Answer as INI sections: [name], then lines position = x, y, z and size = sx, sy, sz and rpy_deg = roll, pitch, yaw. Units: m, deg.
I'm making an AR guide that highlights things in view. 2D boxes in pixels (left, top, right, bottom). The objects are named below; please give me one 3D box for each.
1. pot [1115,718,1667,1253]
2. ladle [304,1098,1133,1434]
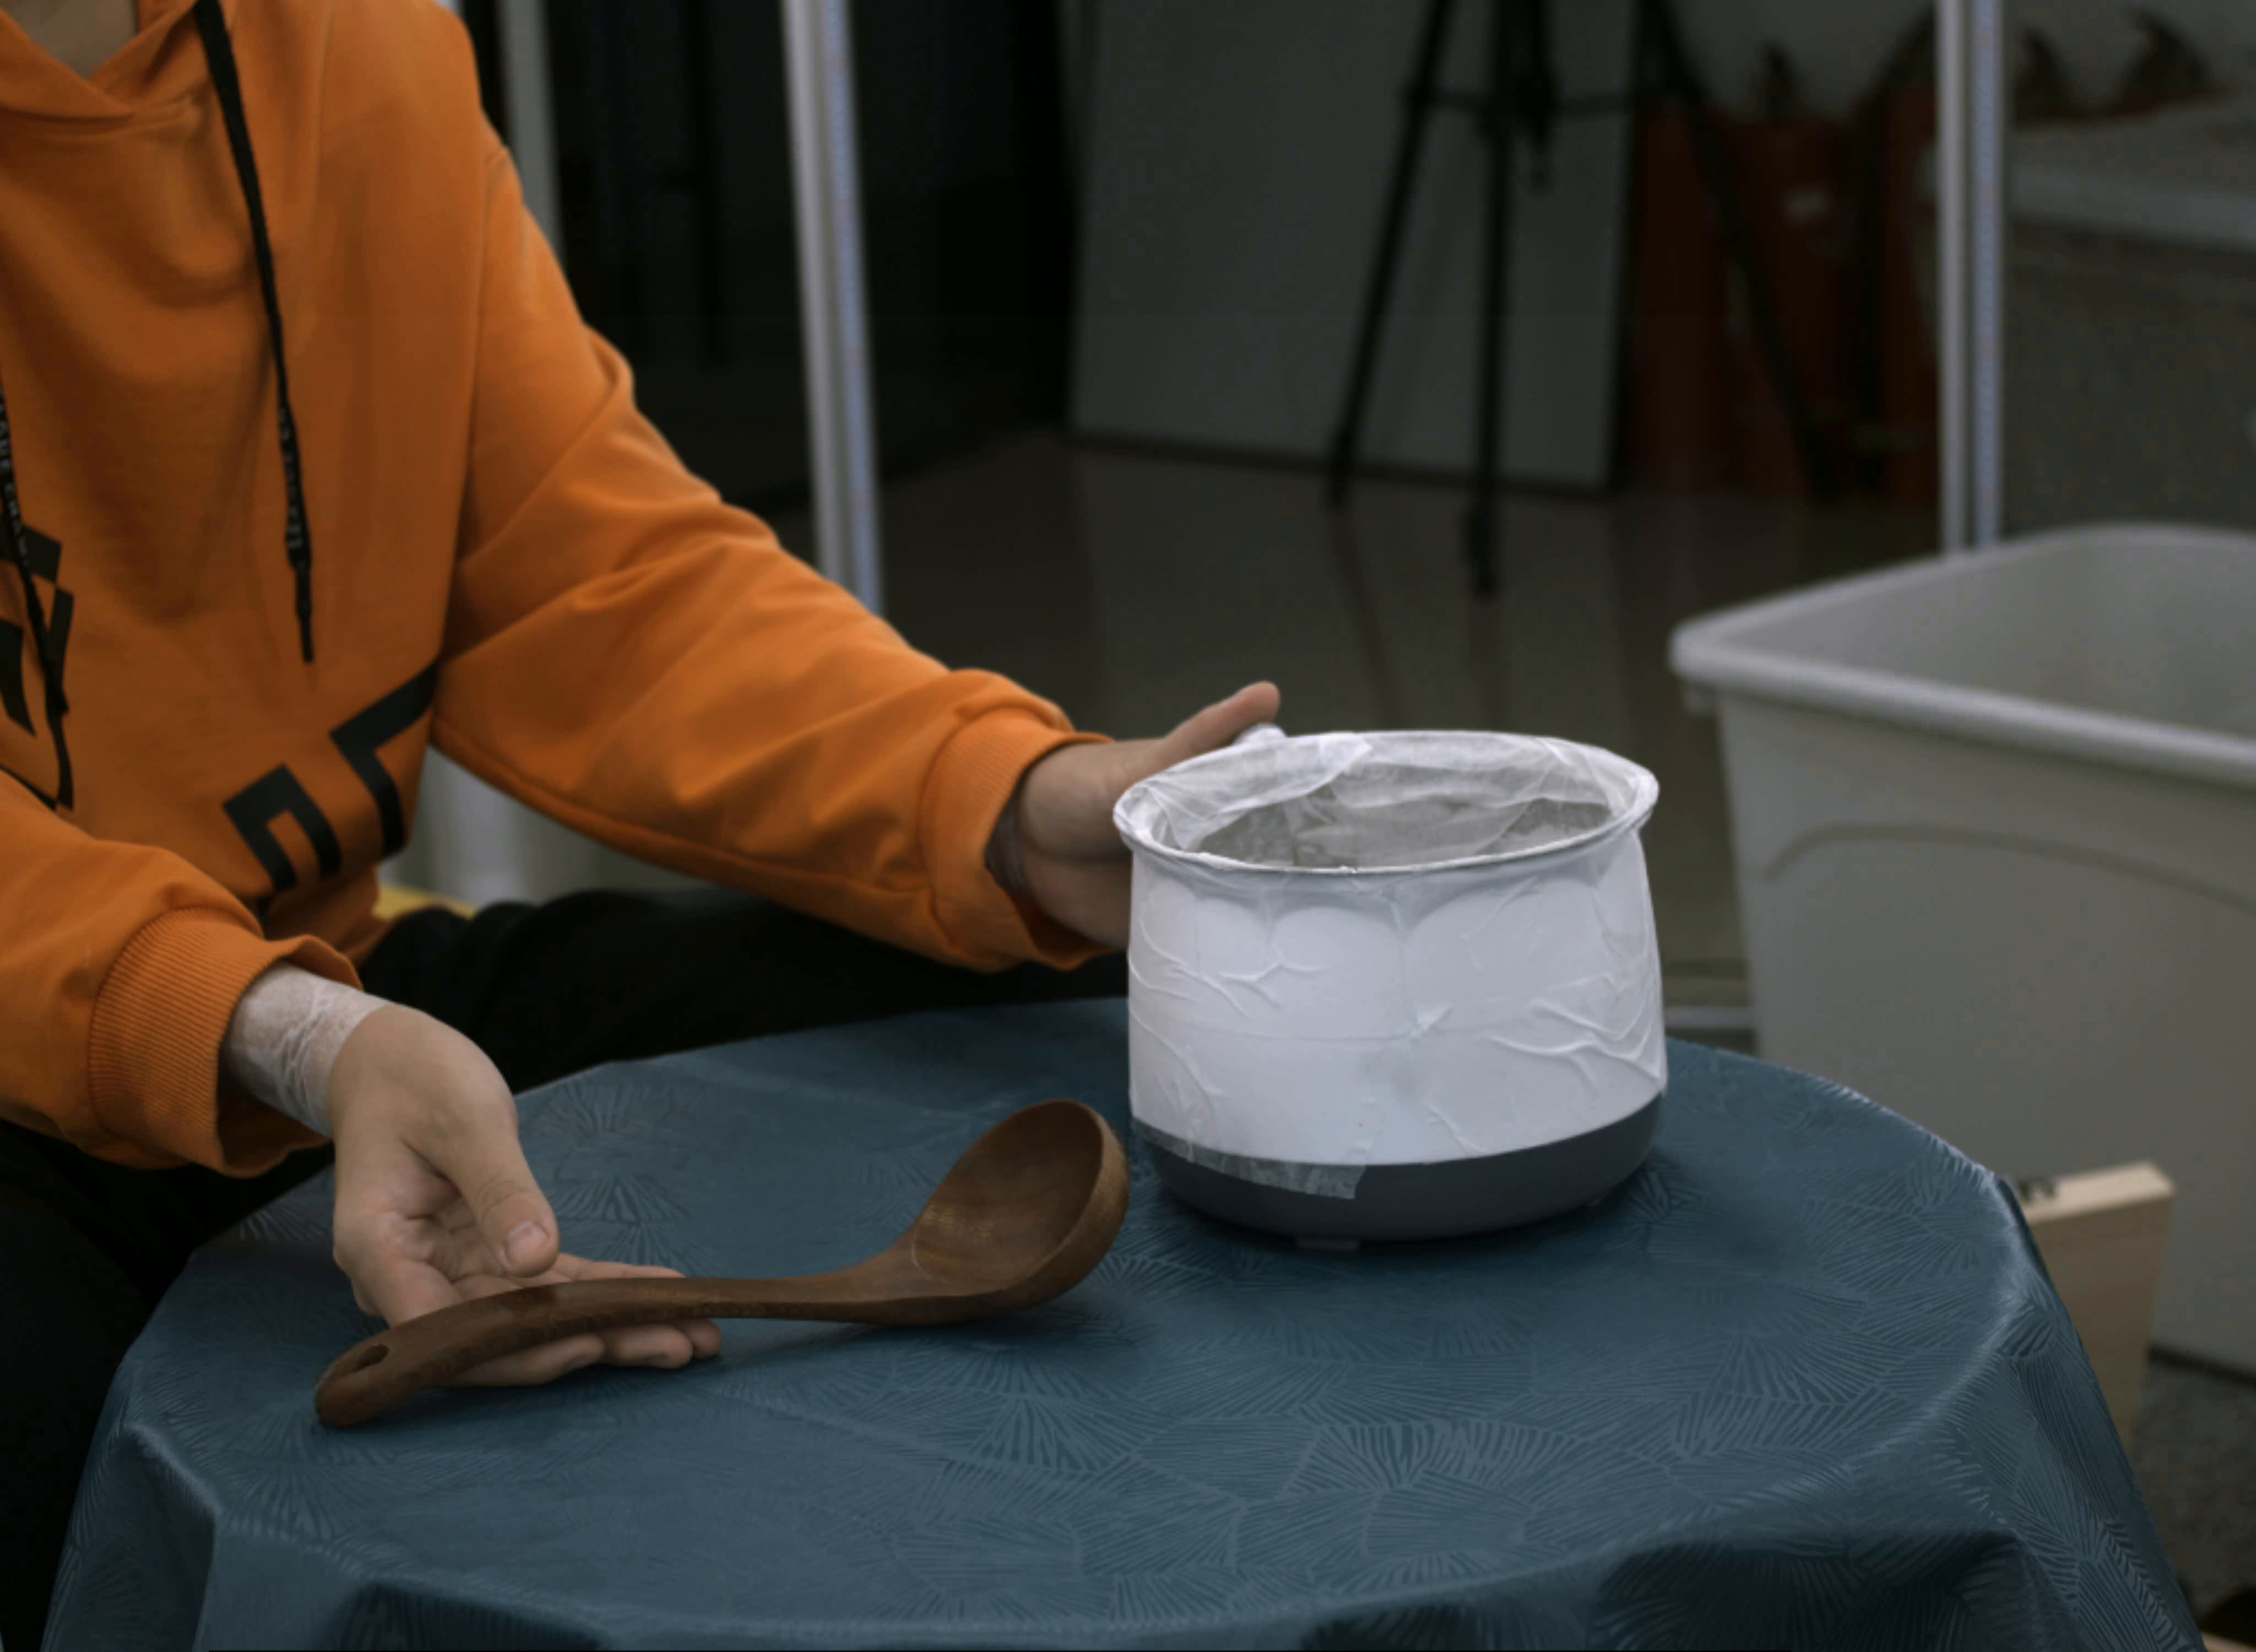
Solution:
[pot]
position = 0.075, 0.045, 1.767
size = 0.175, 0.138, 0.236
rpy_deg = -9, 15, -21
[ladle]
position = -0.122, 0.132, 1.629
size = 0.255, 0.066, 0.077
rpy_deg = -8, 20, -16
